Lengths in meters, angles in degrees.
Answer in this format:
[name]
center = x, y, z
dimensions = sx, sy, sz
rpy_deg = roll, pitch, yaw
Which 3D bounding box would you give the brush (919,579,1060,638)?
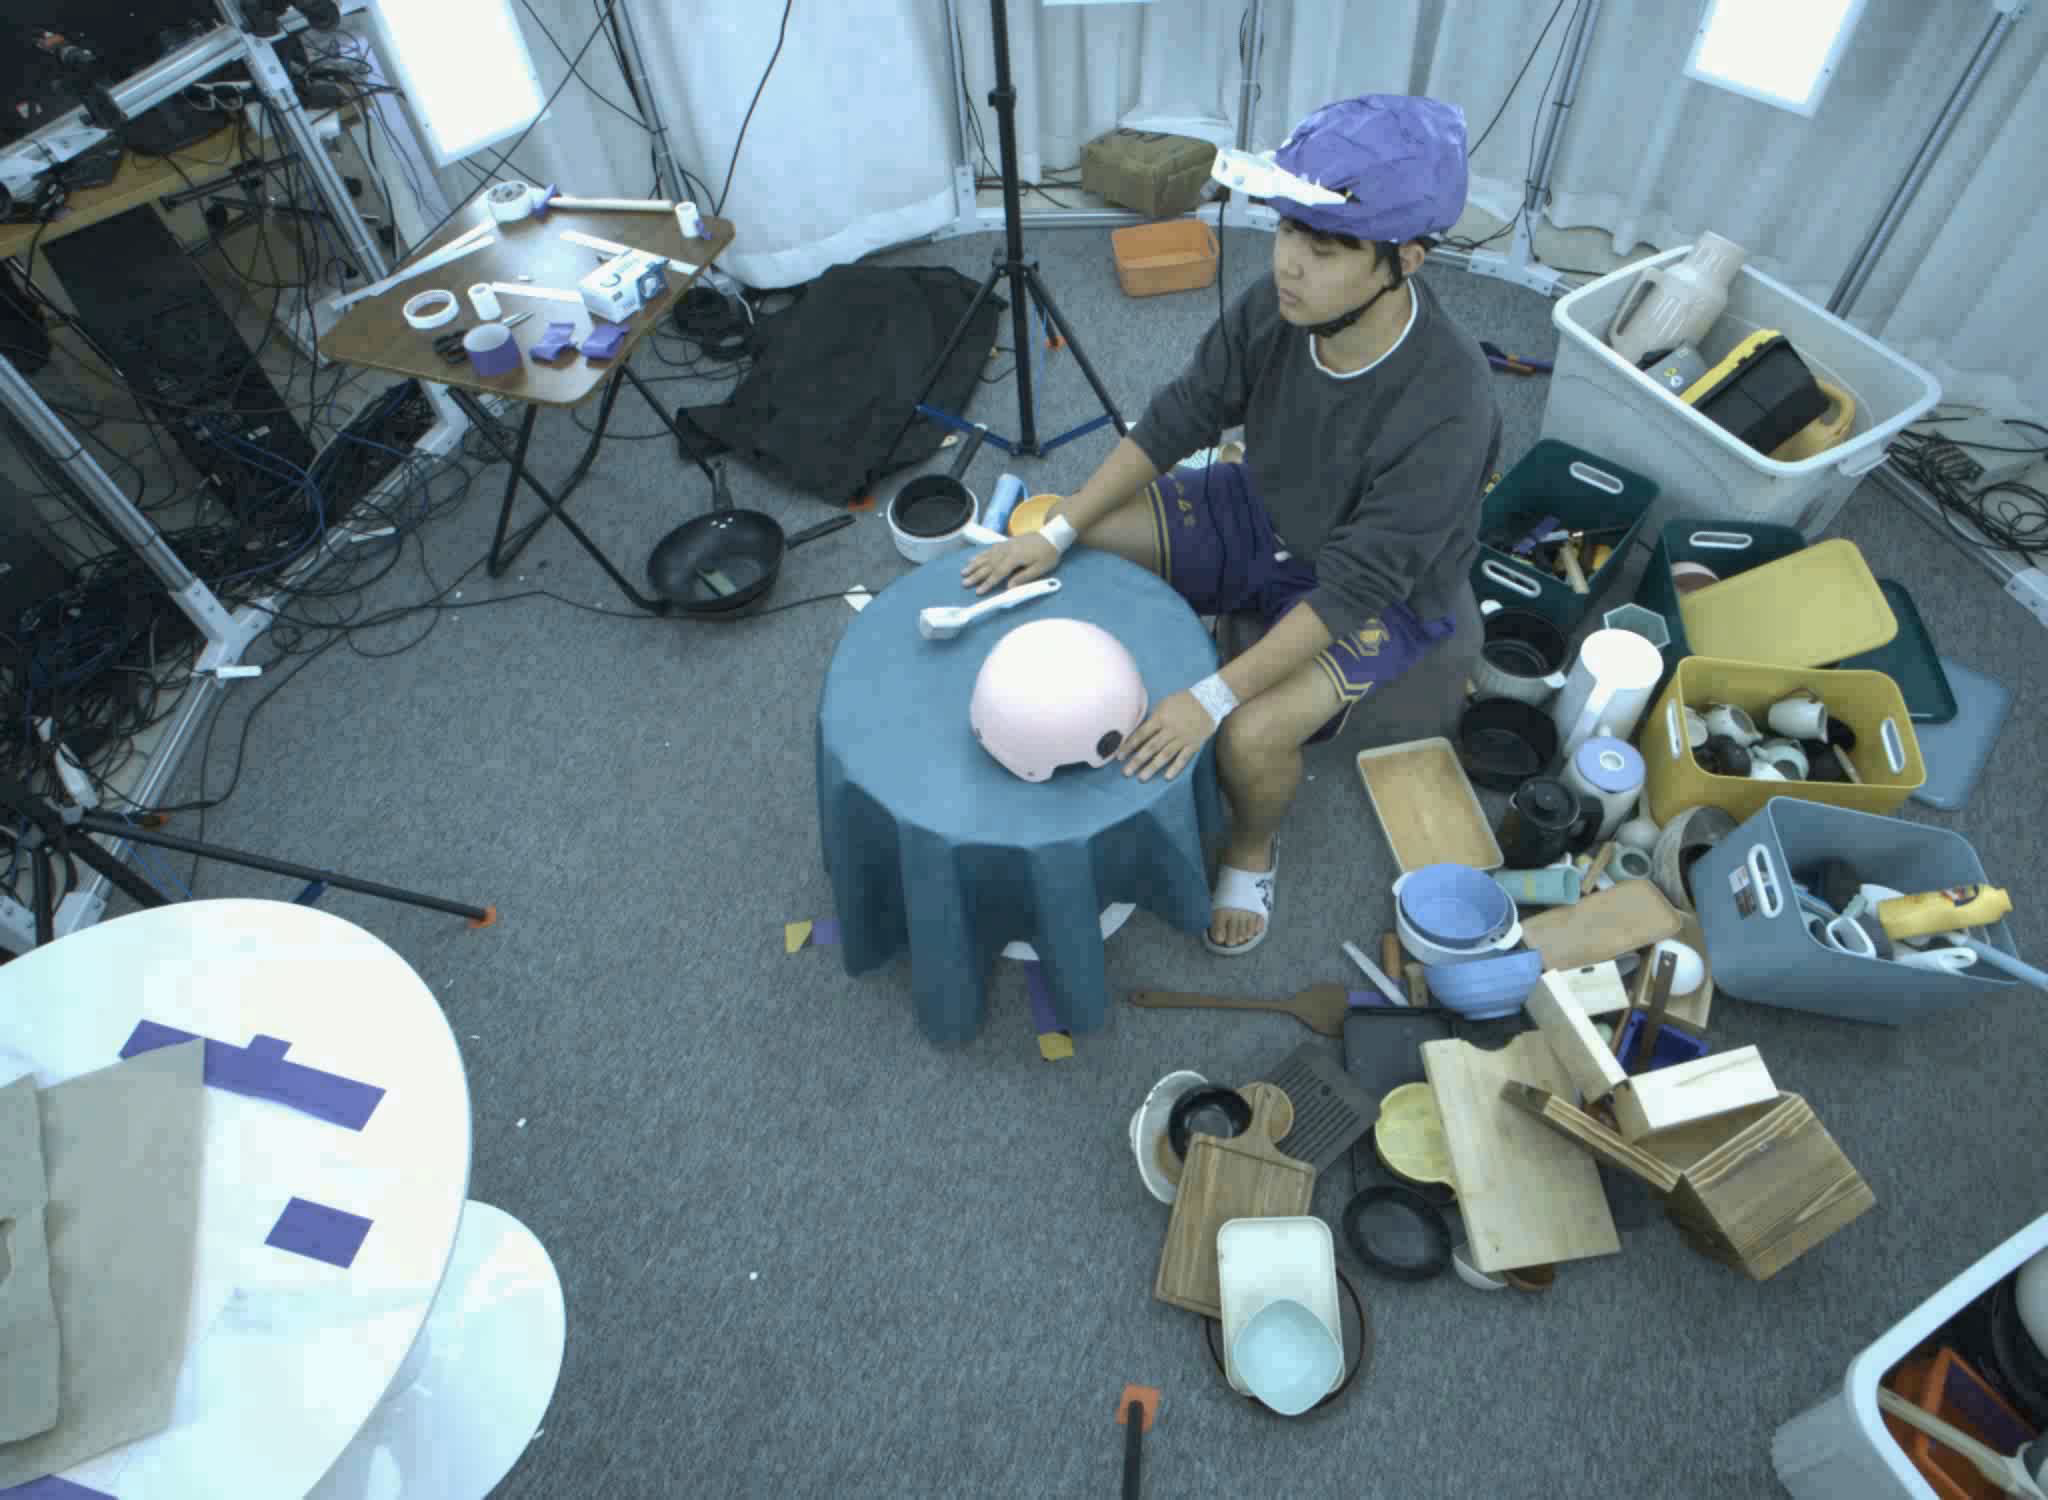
[brush]
center = -0.052, -0.223, 1.936
dimensions = 0.247, 0.050, 0.034
rpy_deg = -18, 59, -28

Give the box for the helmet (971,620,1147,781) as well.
[helmet]
center = 0.053, -0.097, 1.765
dimensions = 0.268, 0.160, 0.229
rpy_deg = -21, 55, -17
